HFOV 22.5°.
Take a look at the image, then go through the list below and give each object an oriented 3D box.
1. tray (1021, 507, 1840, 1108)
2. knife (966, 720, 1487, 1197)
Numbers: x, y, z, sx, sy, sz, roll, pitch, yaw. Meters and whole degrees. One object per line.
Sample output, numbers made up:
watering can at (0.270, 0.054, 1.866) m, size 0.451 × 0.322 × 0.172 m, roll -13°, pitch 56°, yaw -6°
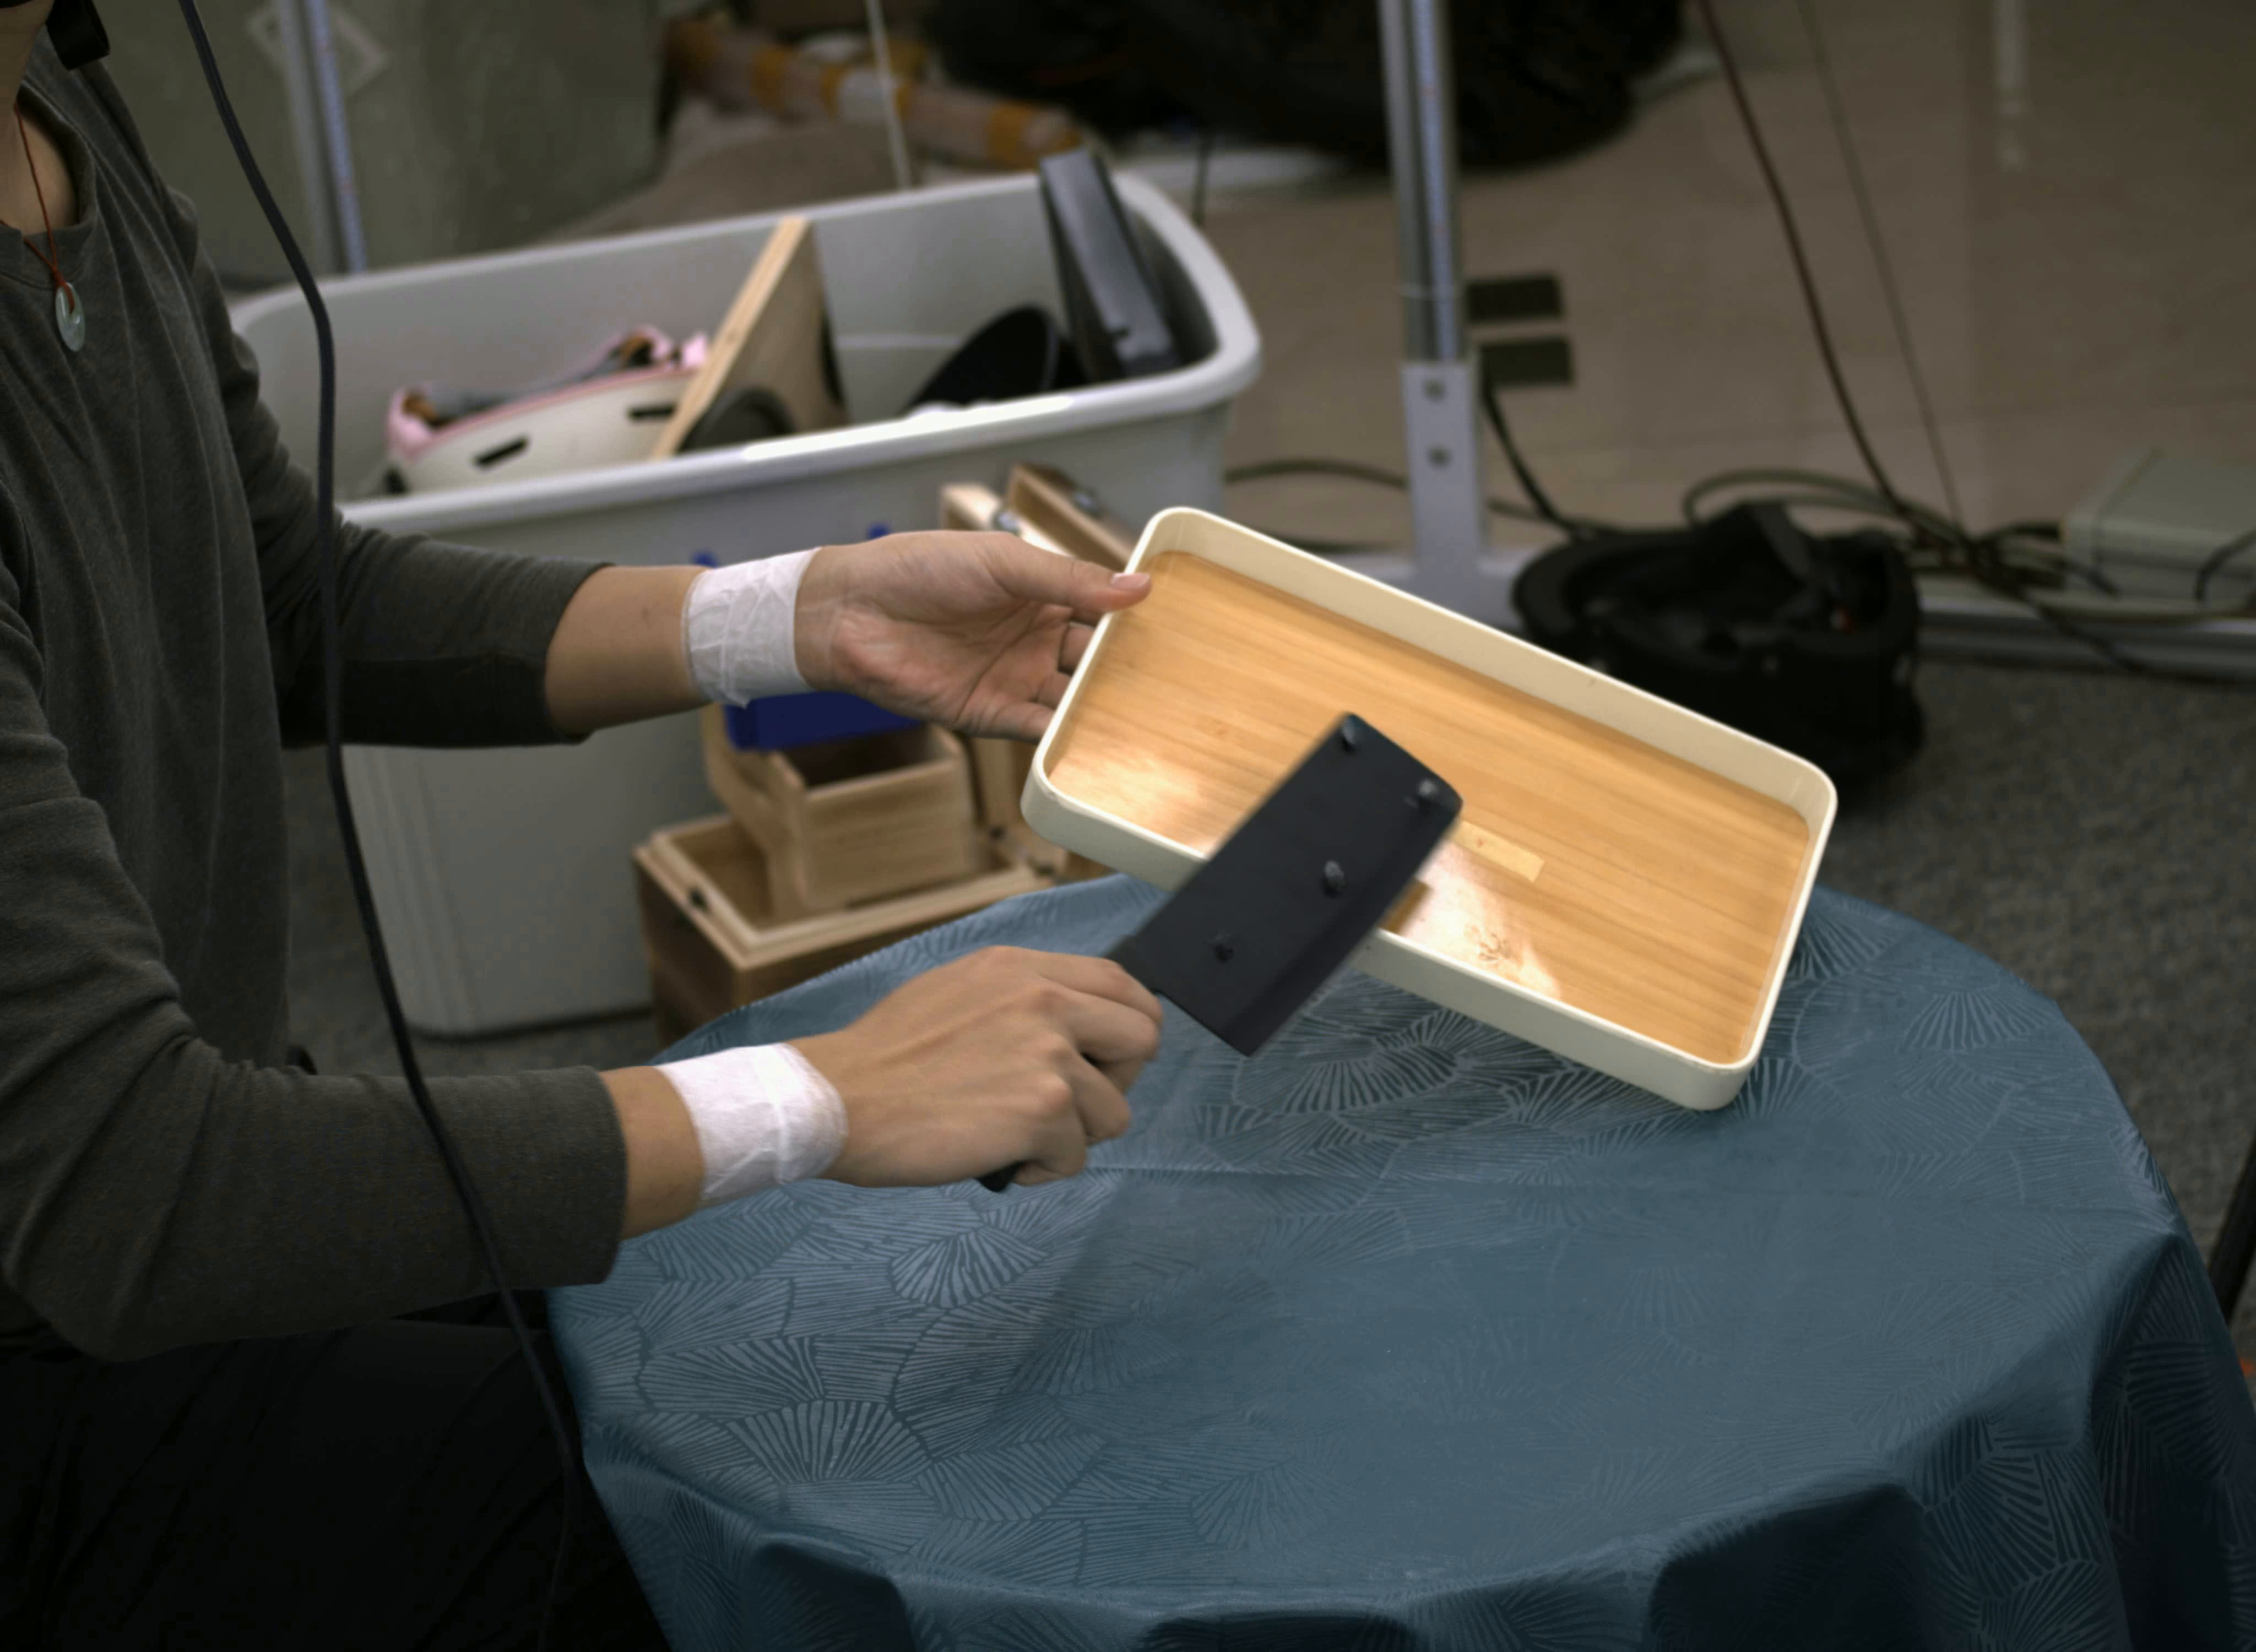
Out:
tray at (0.121, -0.010, 2.218) m, size 0.300 × 0.028 × 0.188 m, roll 23°, pitch 44°, yaw 1°
knife at (0.037, 0.051, 2.099) m, size 0.080 × 0.021 × 0.299 m, roll 41°, pitch 48°, yaw 11°
